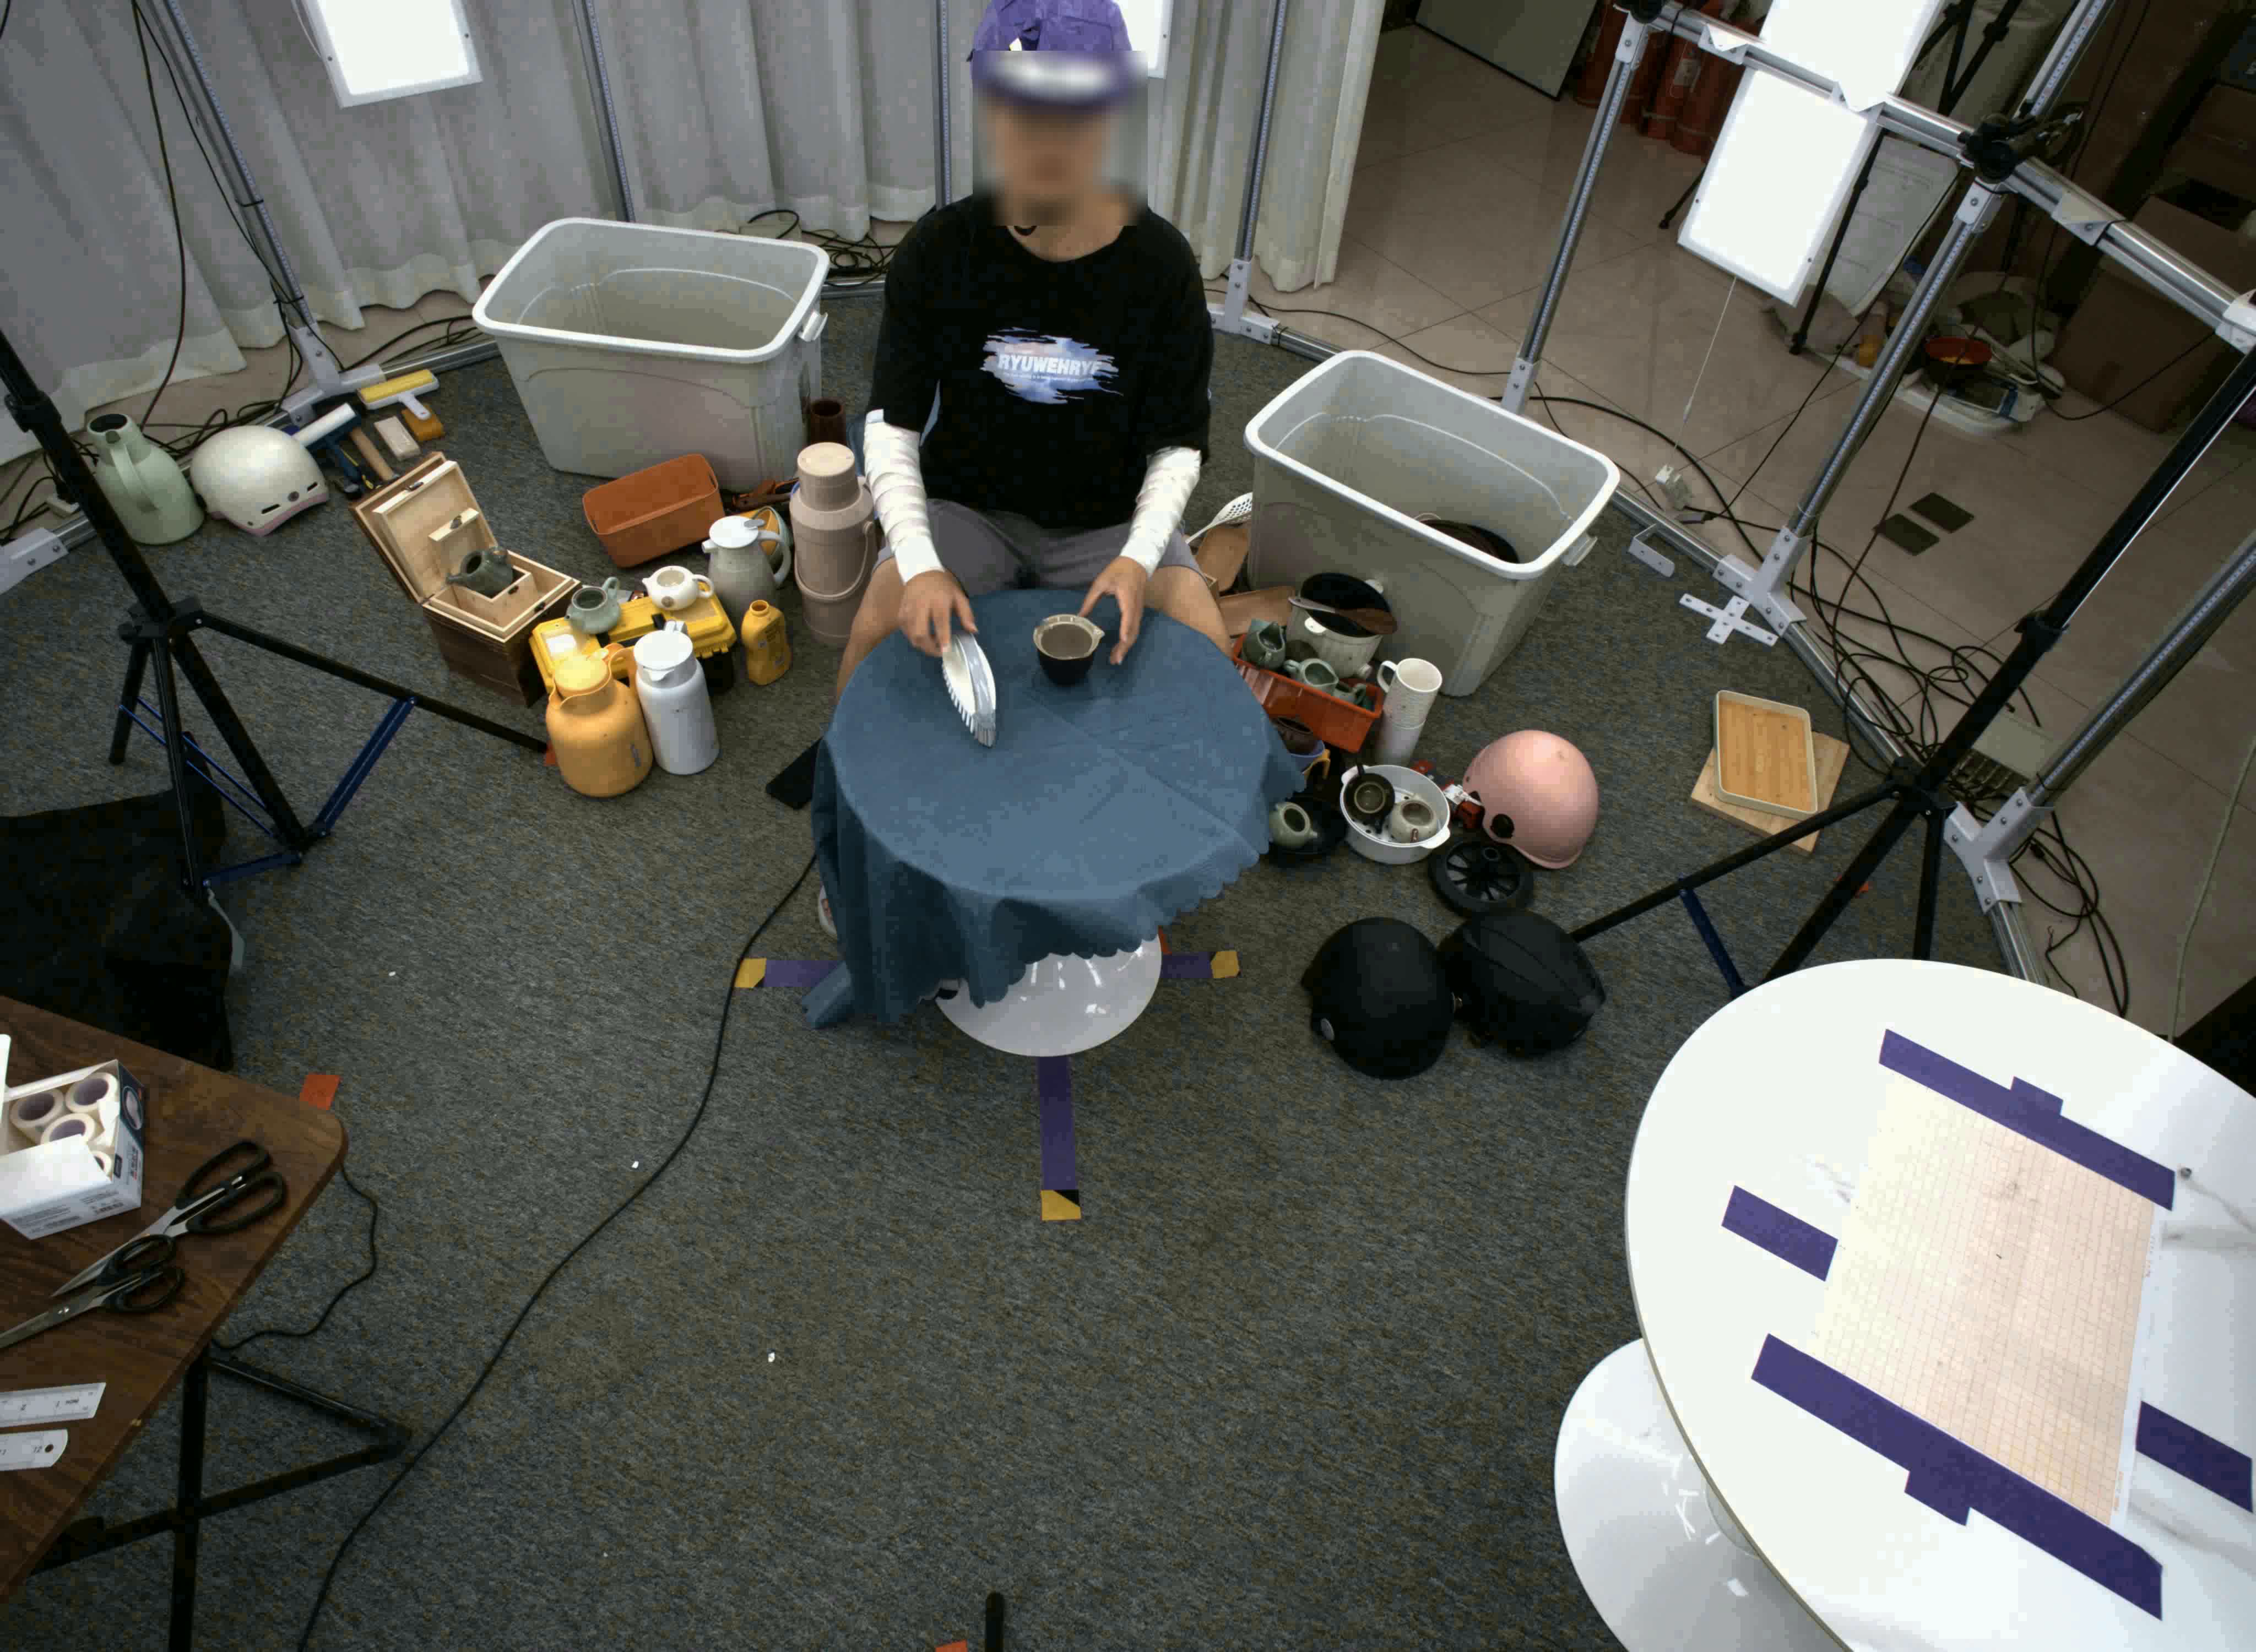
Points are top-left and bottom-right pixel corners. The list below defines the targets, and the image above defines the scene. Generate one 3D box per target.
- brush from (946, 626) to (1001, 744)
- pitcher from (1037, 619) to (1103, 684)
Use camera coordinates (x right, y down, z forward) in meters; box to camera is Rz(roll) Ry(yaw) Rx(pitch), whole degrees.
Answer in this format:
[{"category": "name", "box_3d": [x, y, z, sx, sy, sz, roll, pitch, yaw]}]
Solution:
[{"category": "brush", "box_3d": [-0.209, -0.203, 1.776, 0.061, 0.092, 0.180, -13, 55, -11]}, {"category": "pitcher", "box_3d": [-0.084, -0.246, 1.833, 0.096, 0.069, 0.086, -8, 50, -14]}]
